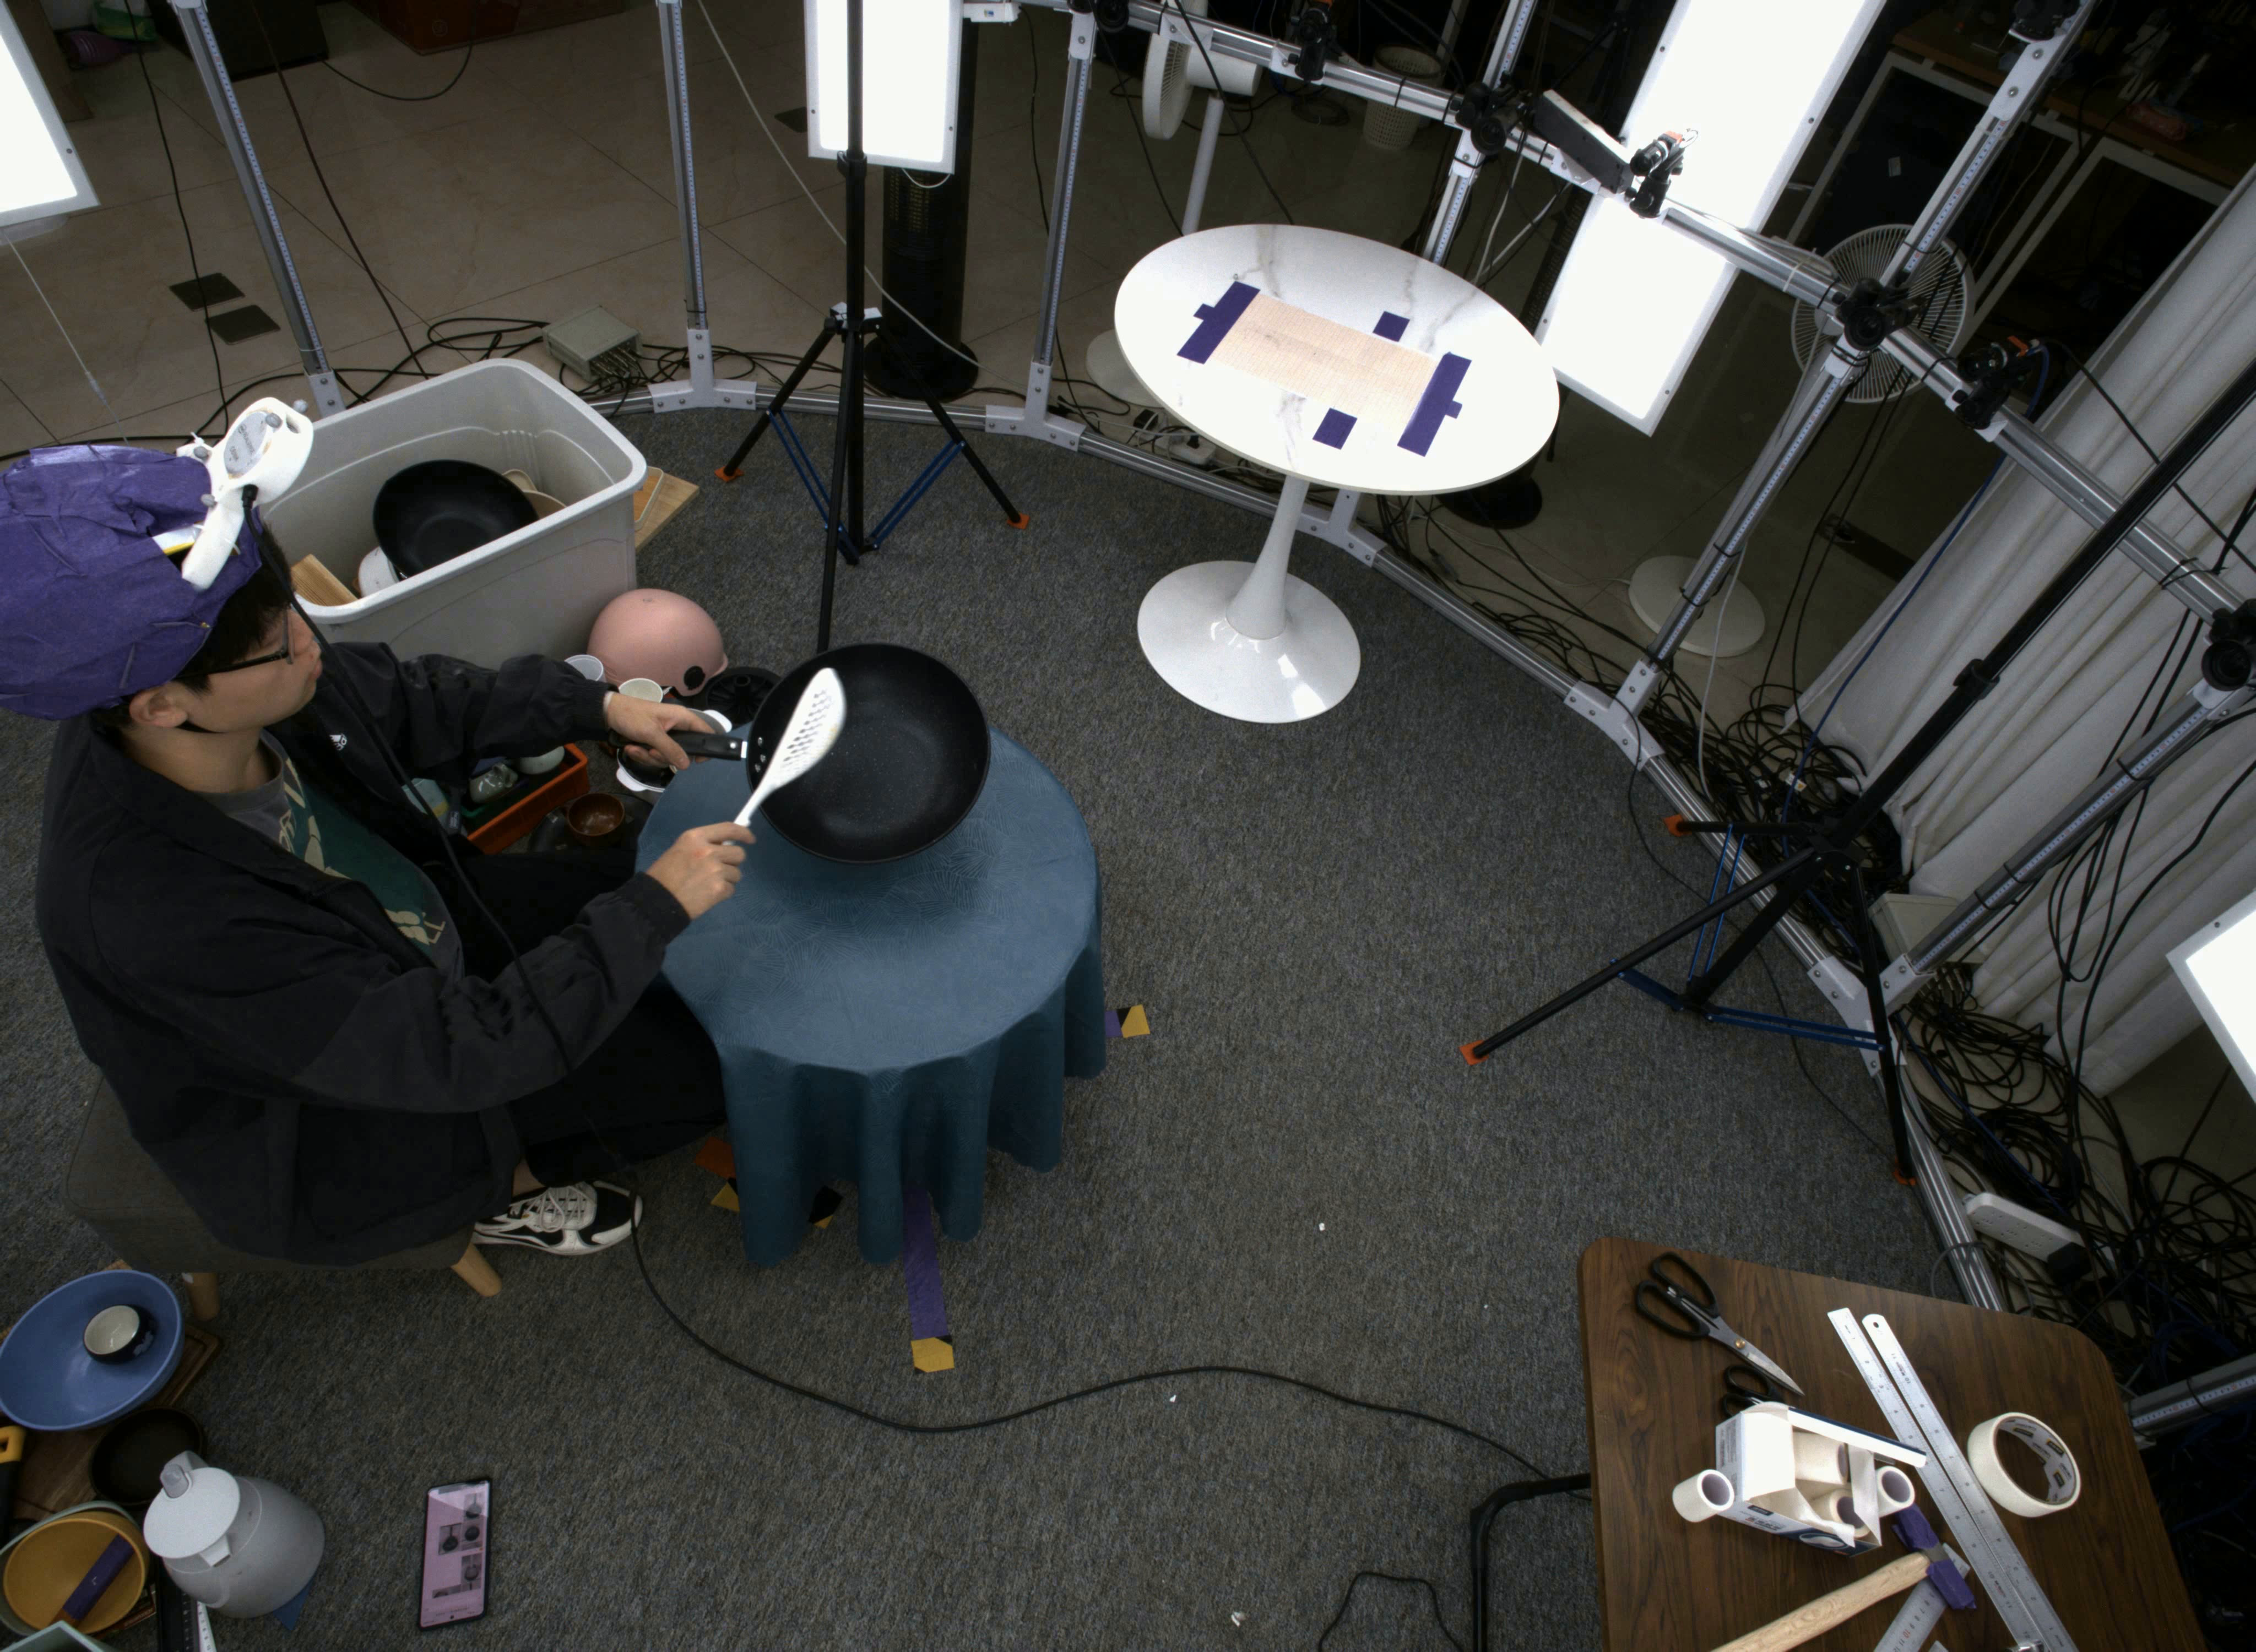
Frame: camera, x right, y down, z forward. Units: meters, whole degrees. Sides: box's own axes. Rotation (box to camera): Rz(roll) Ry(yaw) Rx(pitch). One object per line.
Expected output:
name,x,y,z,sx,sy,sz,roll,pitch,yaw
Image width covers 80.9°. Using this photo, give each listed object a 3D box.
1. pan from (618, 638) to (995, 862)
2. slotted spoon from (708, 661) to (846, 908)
pan,-0.406,-0.090,1.661,0.474,0.113,0.307,0,69,-6
slotted spoon,-0.418,-0.047,1.536,0.050,0.138,0.346,27,58,3
